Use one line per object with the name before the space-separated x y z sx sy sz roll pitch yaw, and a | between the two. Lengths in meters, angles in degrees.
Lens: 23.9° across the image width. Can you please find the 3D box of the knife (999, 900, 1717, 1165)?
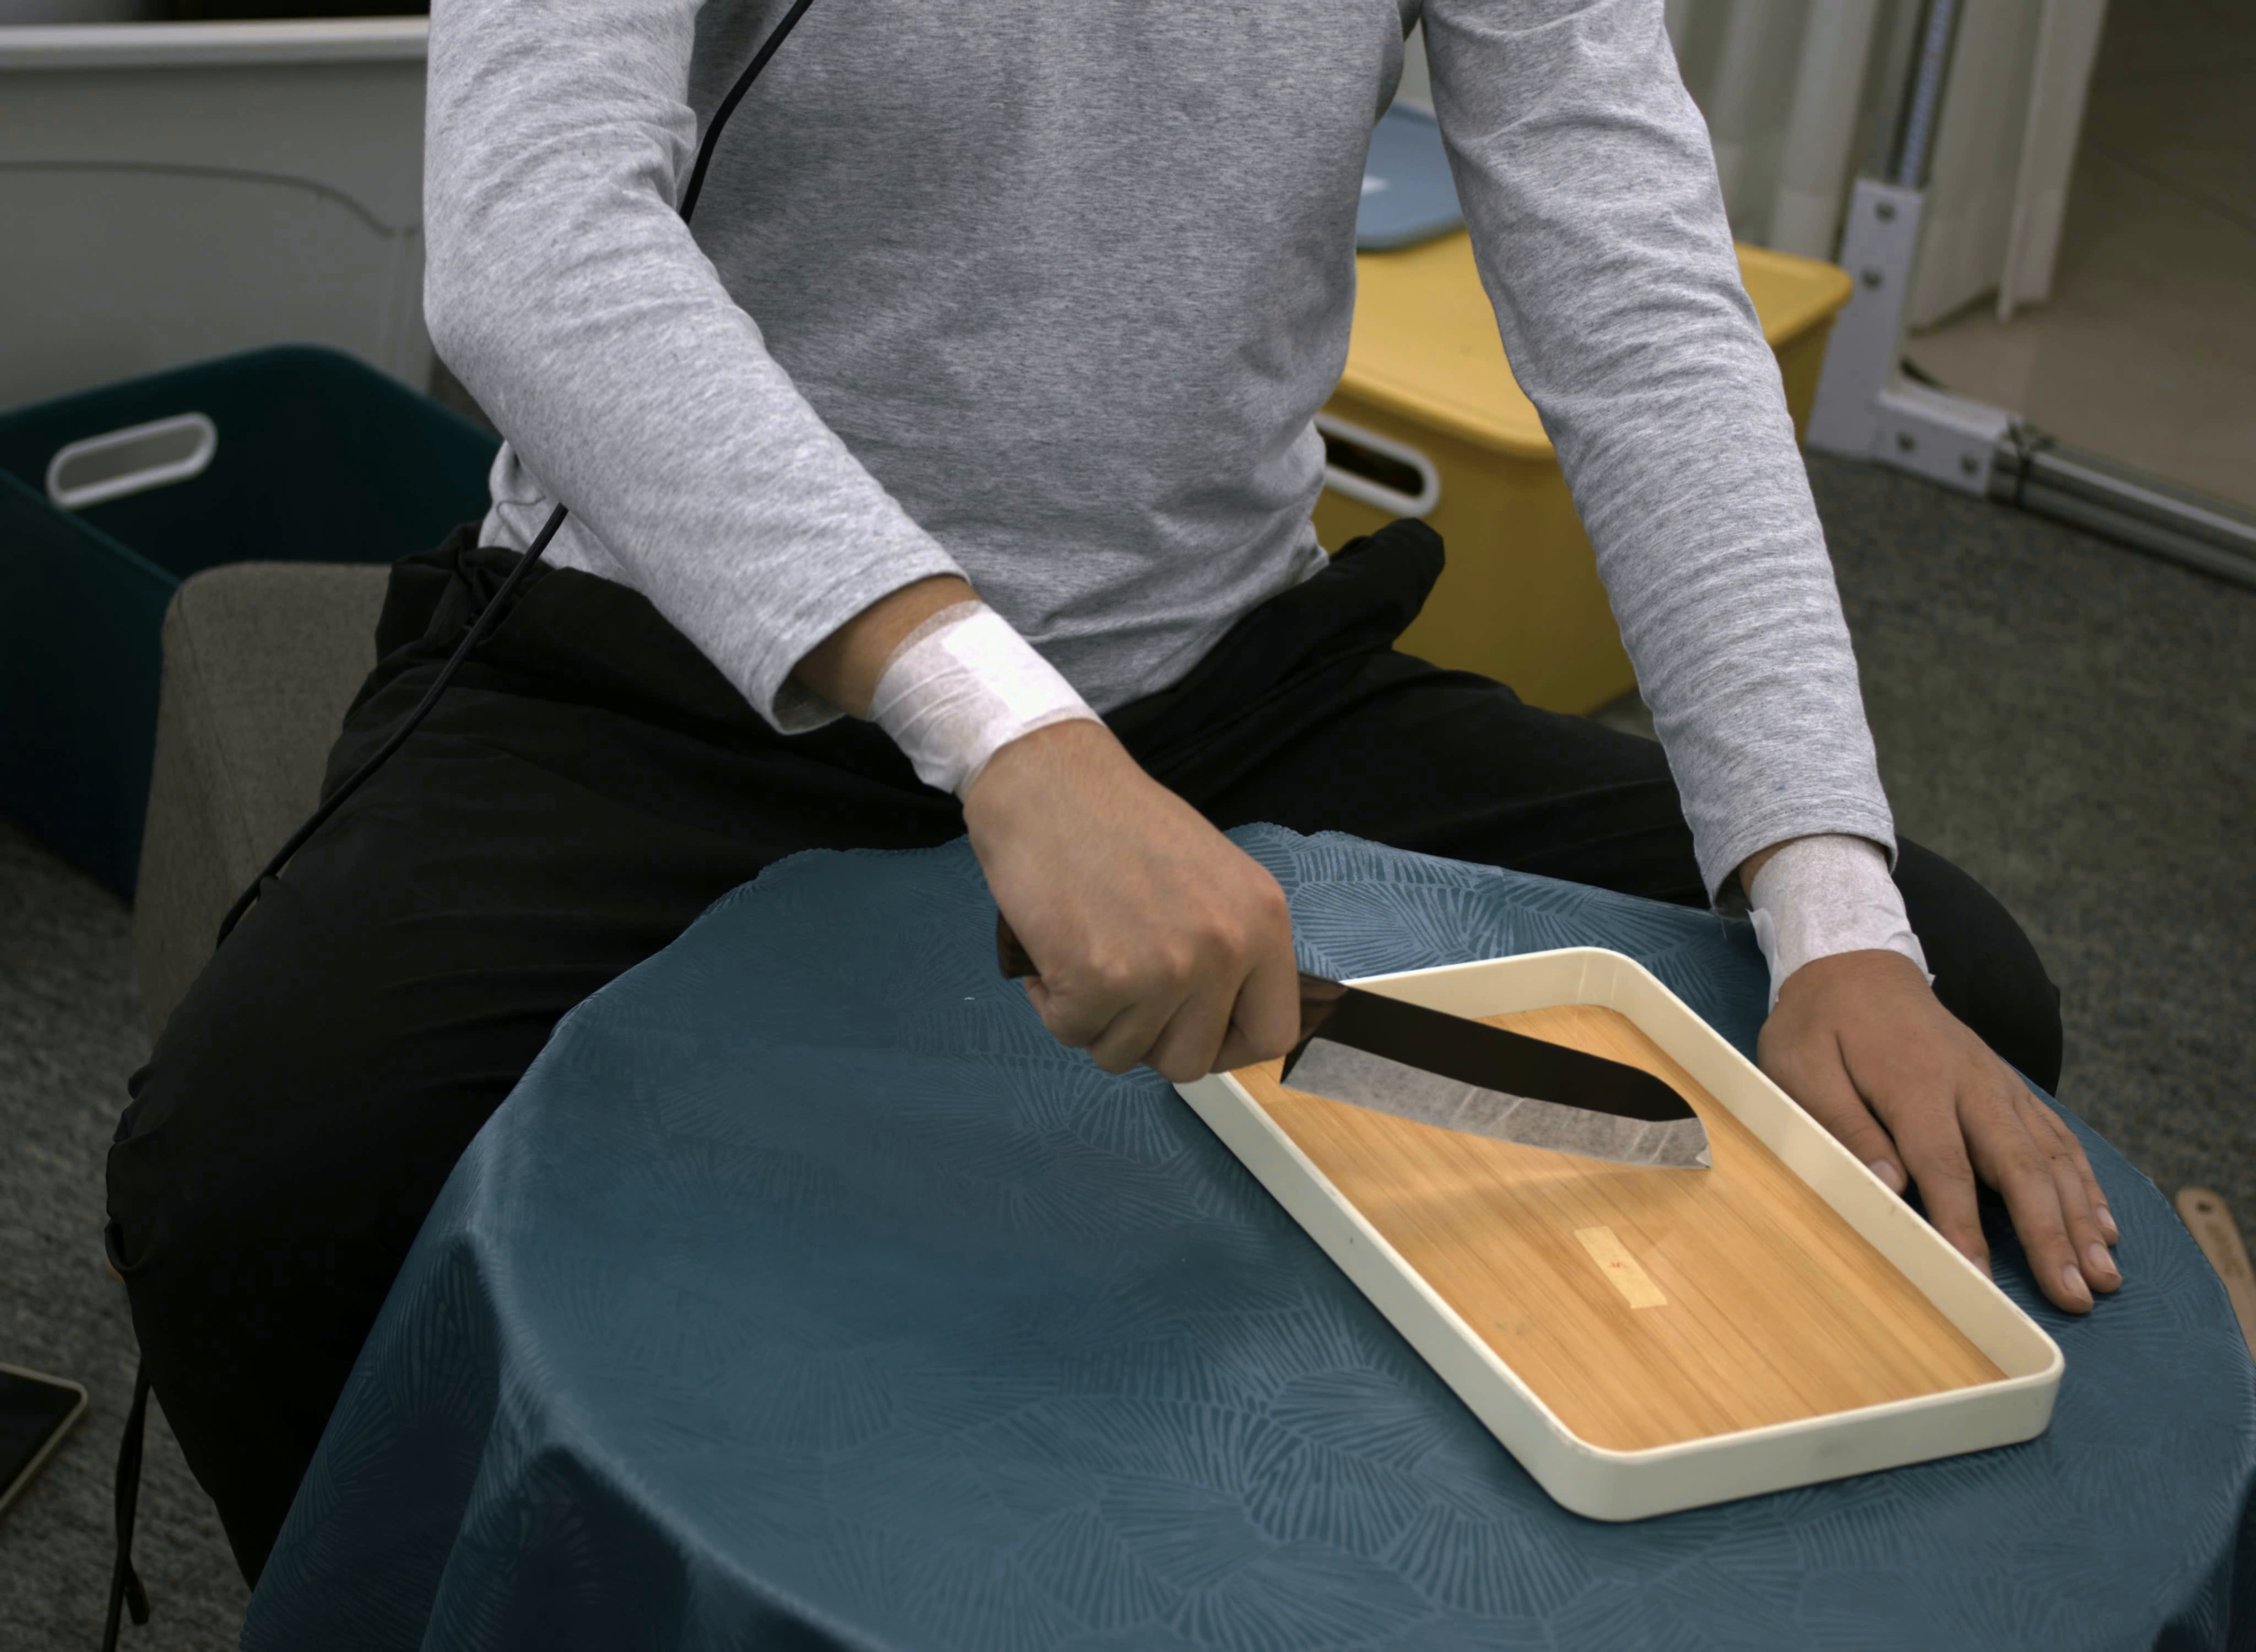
knife | 0.081 0.073 1.788 0.287 0.050 0.020 18 27 -24

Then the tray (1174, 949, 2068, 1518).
tray | 0.160 0.131 1.798 0.190 0.027 0.303 -7 29 -26
